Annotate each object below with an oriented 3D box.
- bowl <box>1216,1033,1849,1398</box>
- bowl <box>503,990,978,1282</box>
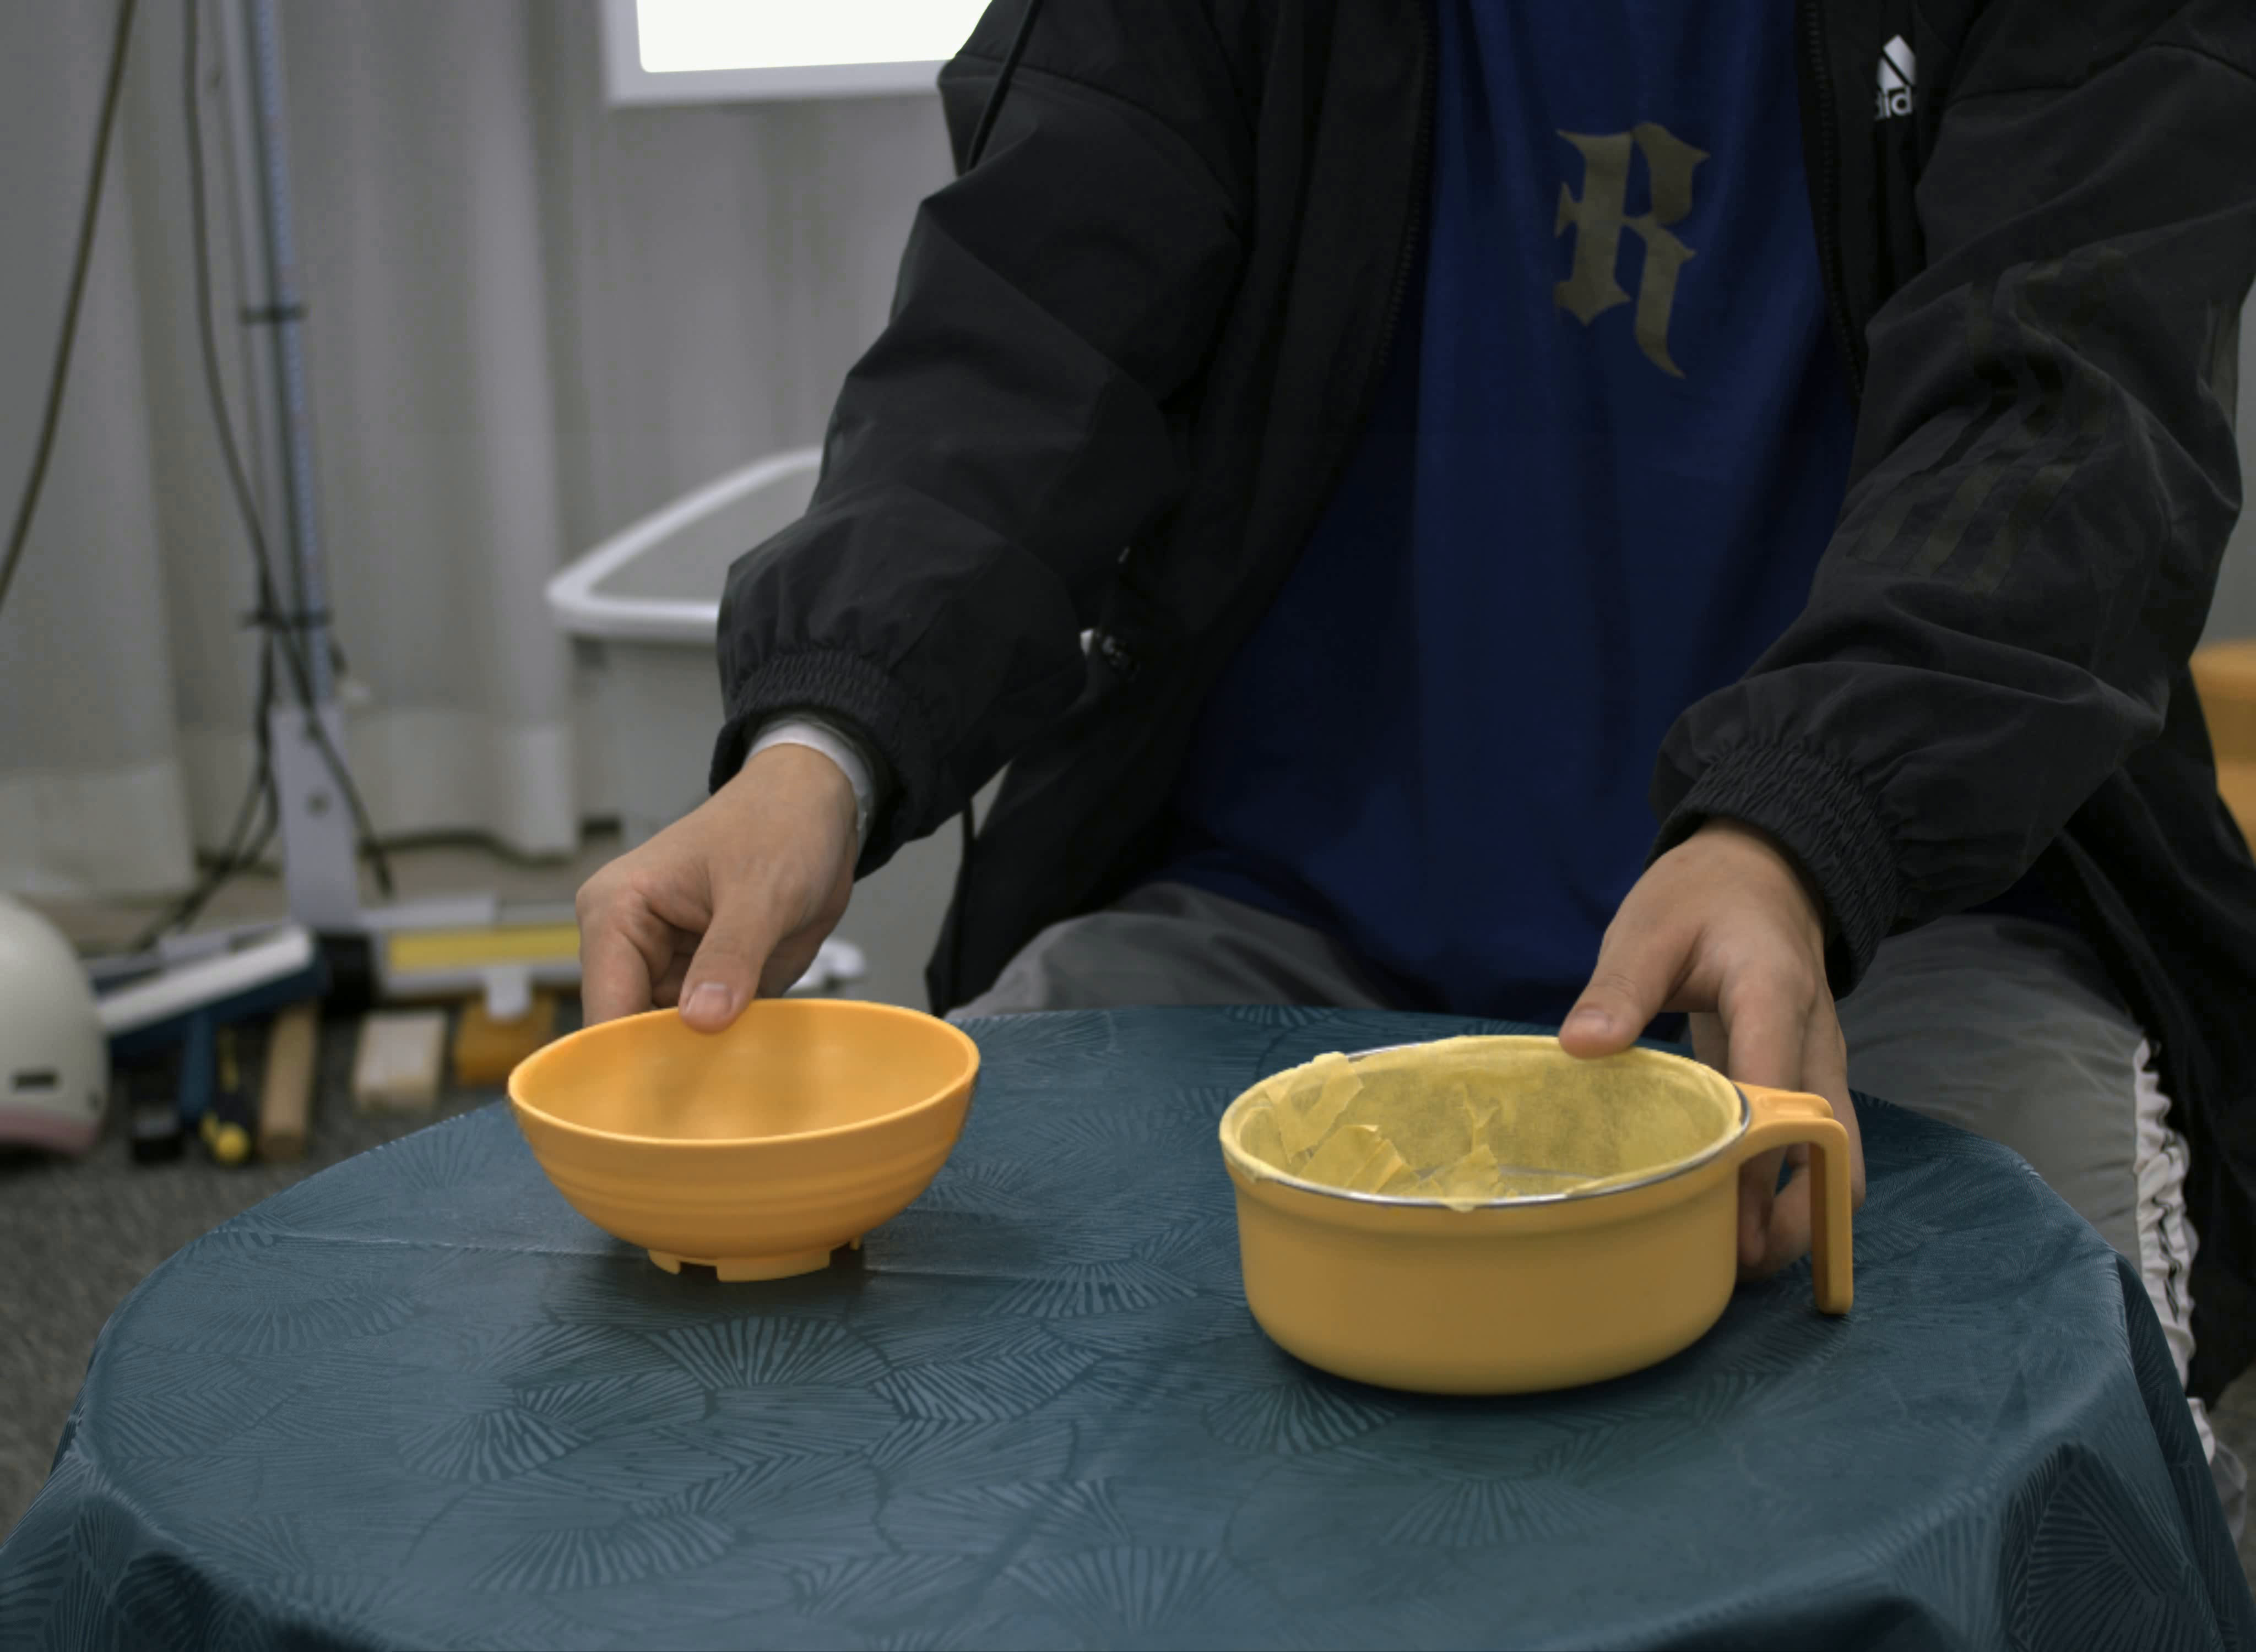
[{"bbox_3d":[0.116,0.112,1.563,0.178,0.074,0.154,-5,12,-6],"label":"bowl"},{"bbox_3d":[-0.118,0.101,1.673,0.145,0.060,0.146,0,16,0],"label":"bowl"}]
